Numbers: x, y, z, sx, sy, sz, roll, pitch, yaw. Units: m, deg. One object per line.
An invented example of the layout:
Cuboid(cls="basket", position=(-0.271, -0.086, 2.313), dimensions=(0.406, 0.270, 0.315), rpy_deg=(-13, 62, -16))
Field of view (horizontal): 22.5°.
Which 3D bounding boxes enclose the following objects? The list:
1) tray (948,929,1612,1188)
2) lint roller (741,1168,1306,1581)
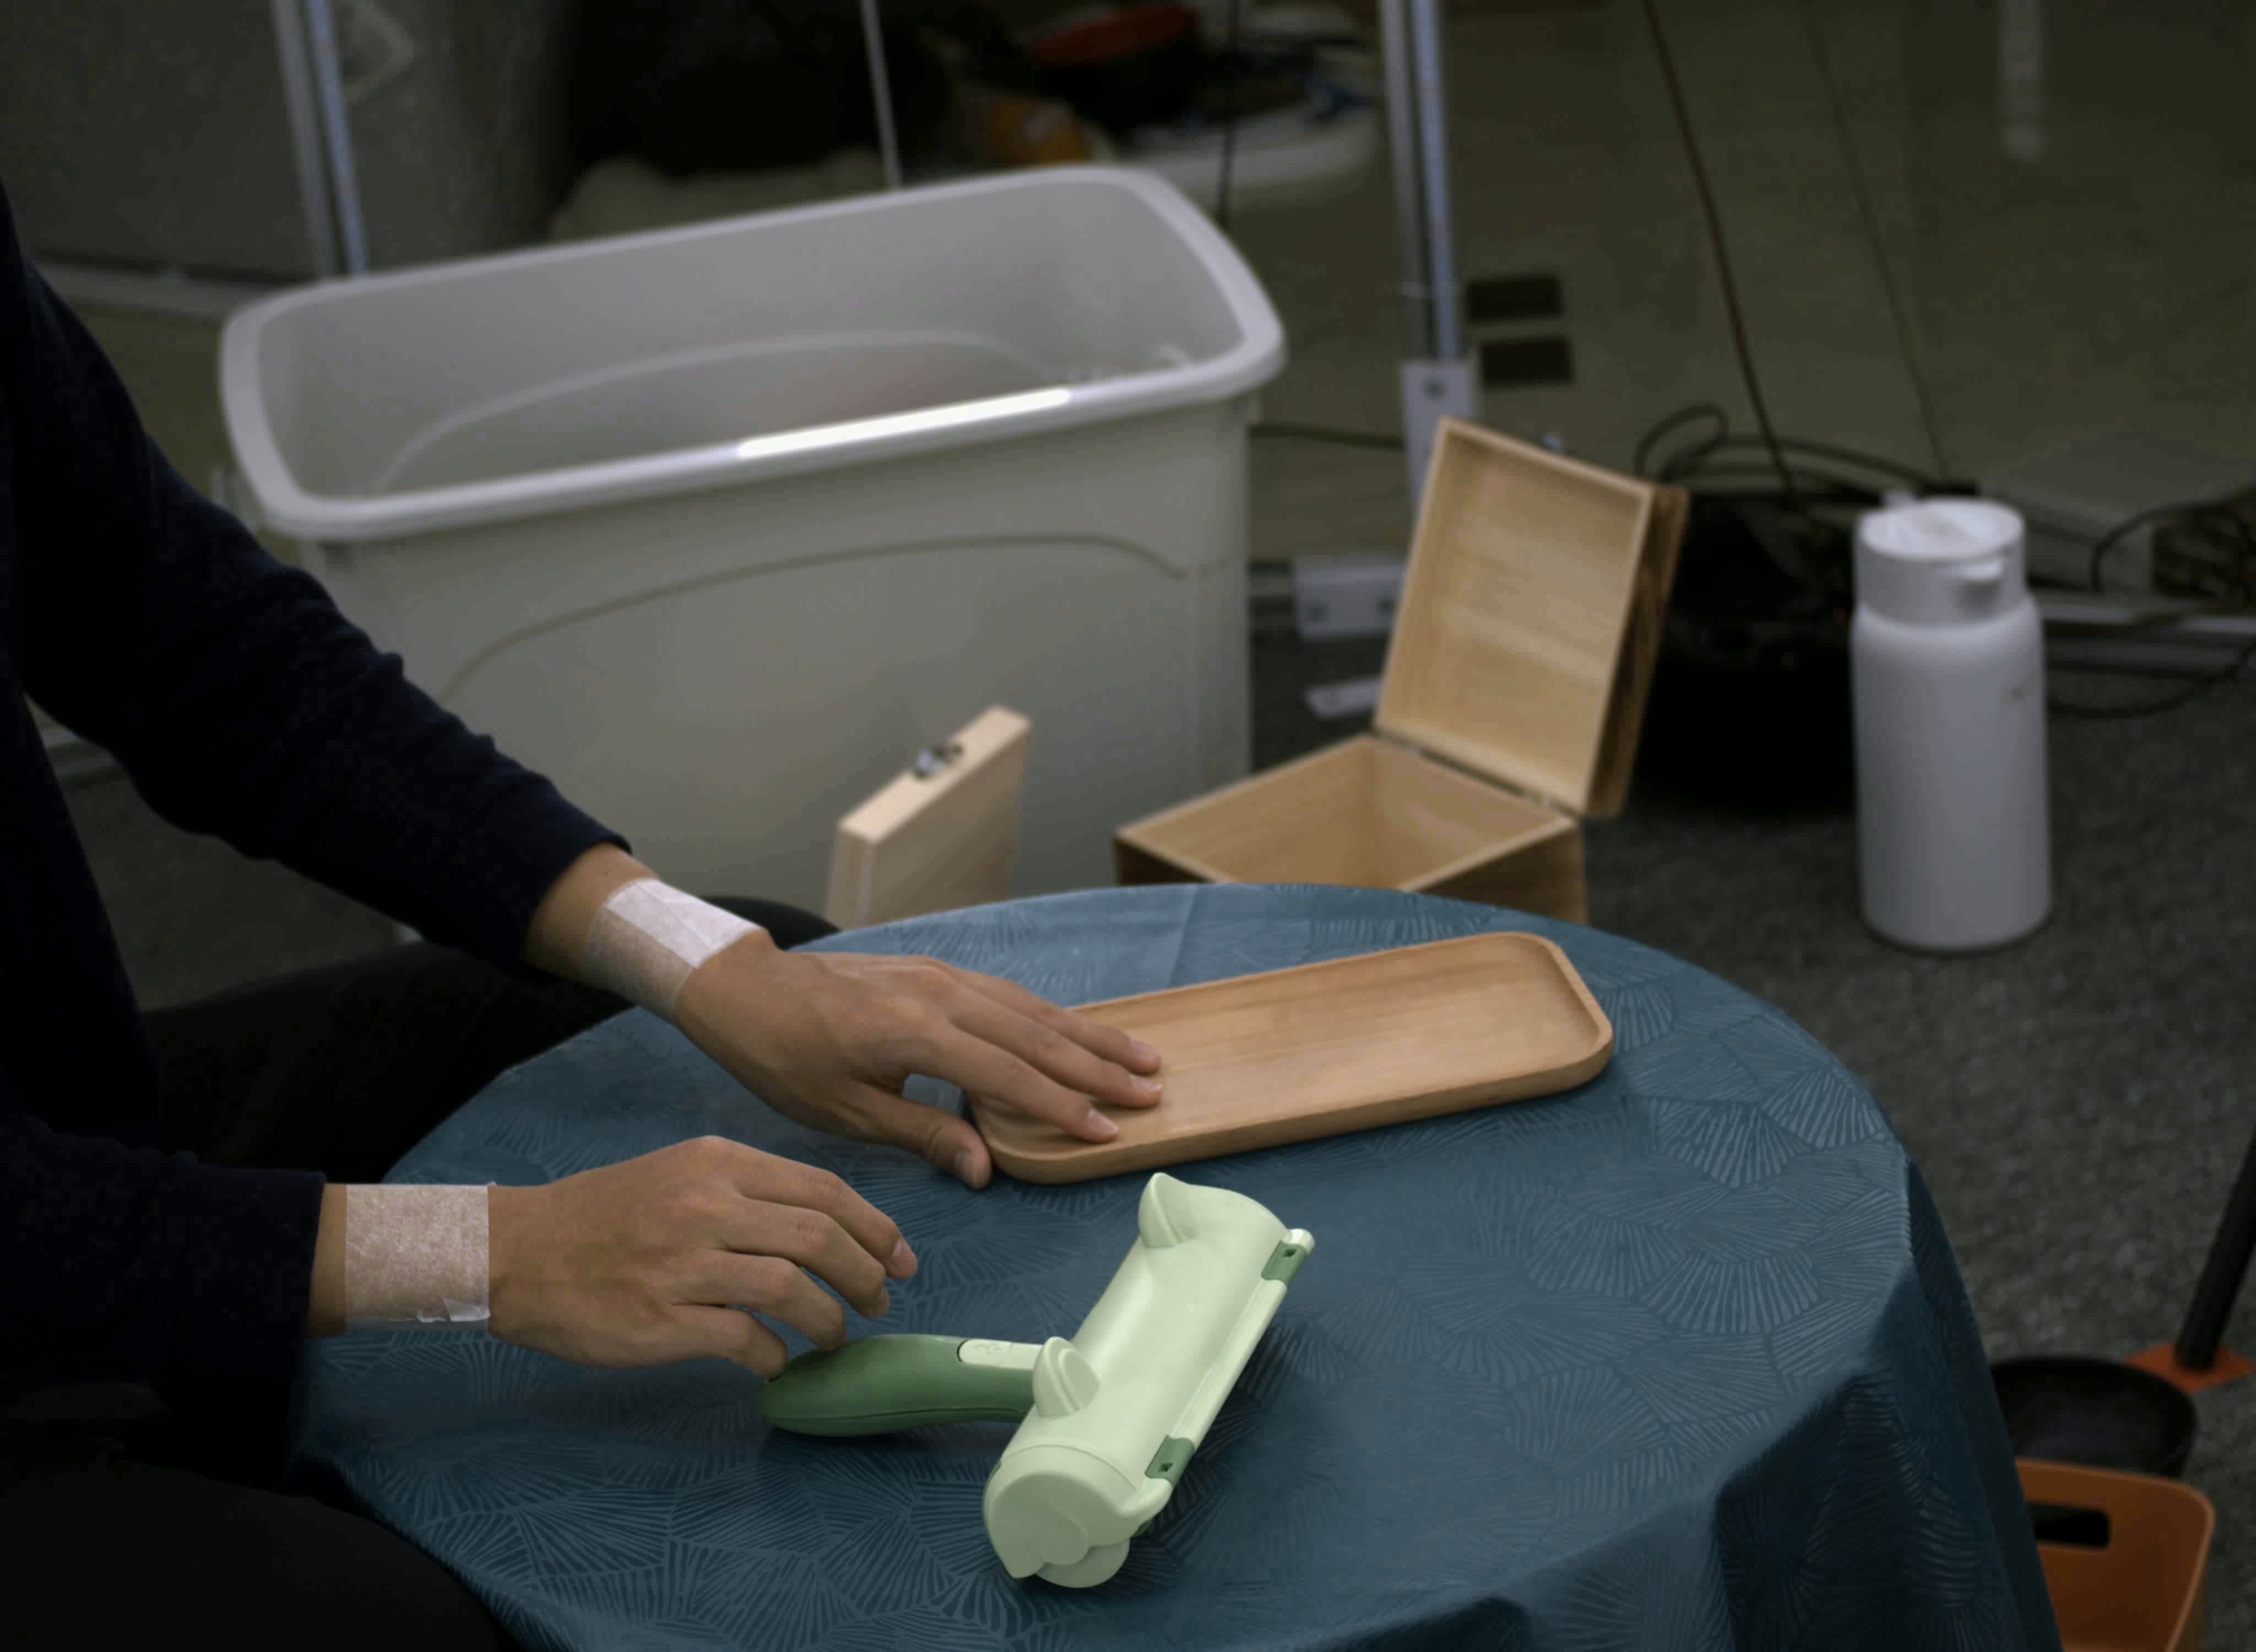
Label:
Cuboid(cls="tray", position=(0.059, 0.091, 2.217), dimensions=(0.250, 0.023, 0.129), rpy_deg=(-11, 23, -7))
Cuboid(cls="lint roller", position=(-0.050, 0.177, 1.973), dimensions=(0.183, 0.083, 0.196), rpy_deg=(8, 27, 15))
